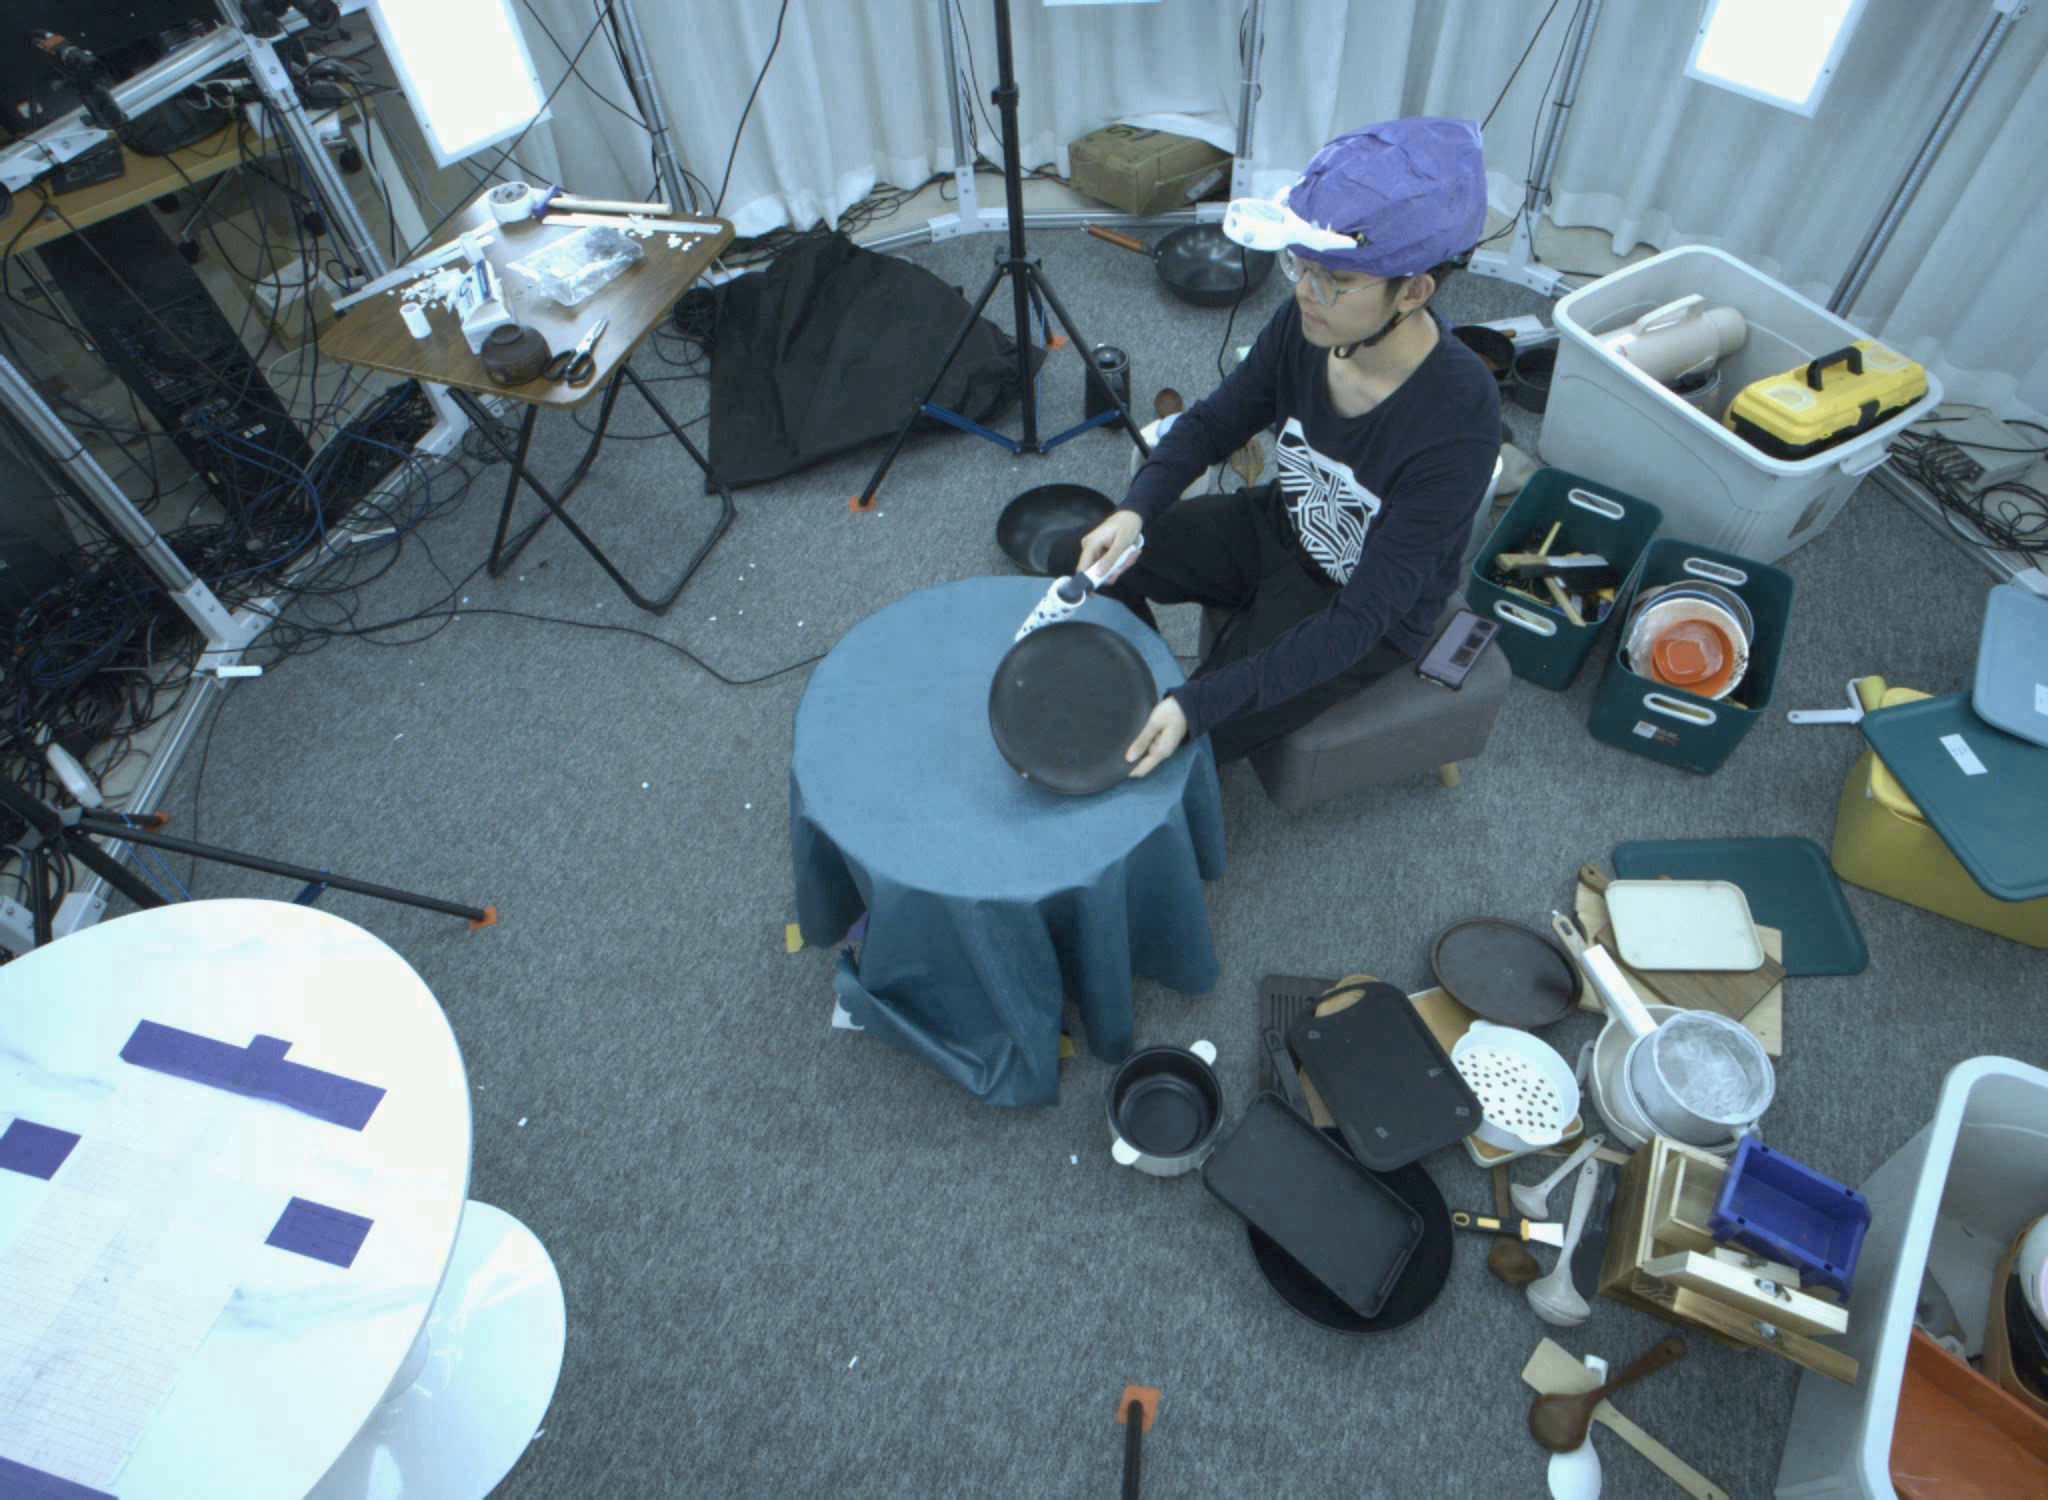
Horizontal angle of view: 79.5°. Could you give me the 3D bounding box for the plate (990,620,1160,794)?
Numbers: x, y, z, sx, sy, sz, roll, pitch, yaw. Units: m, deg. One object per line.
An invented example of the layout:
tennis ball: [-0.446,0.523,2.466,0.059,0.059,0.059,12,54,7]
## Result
plate: [0.071,-0.060,1.727,0.247,0.023,0.244,-1,93,-13]

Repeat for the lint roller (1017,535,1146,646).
lint roller: [0.096,-0.249,1.801,0.050,0.175,0.248,43,59,2]
